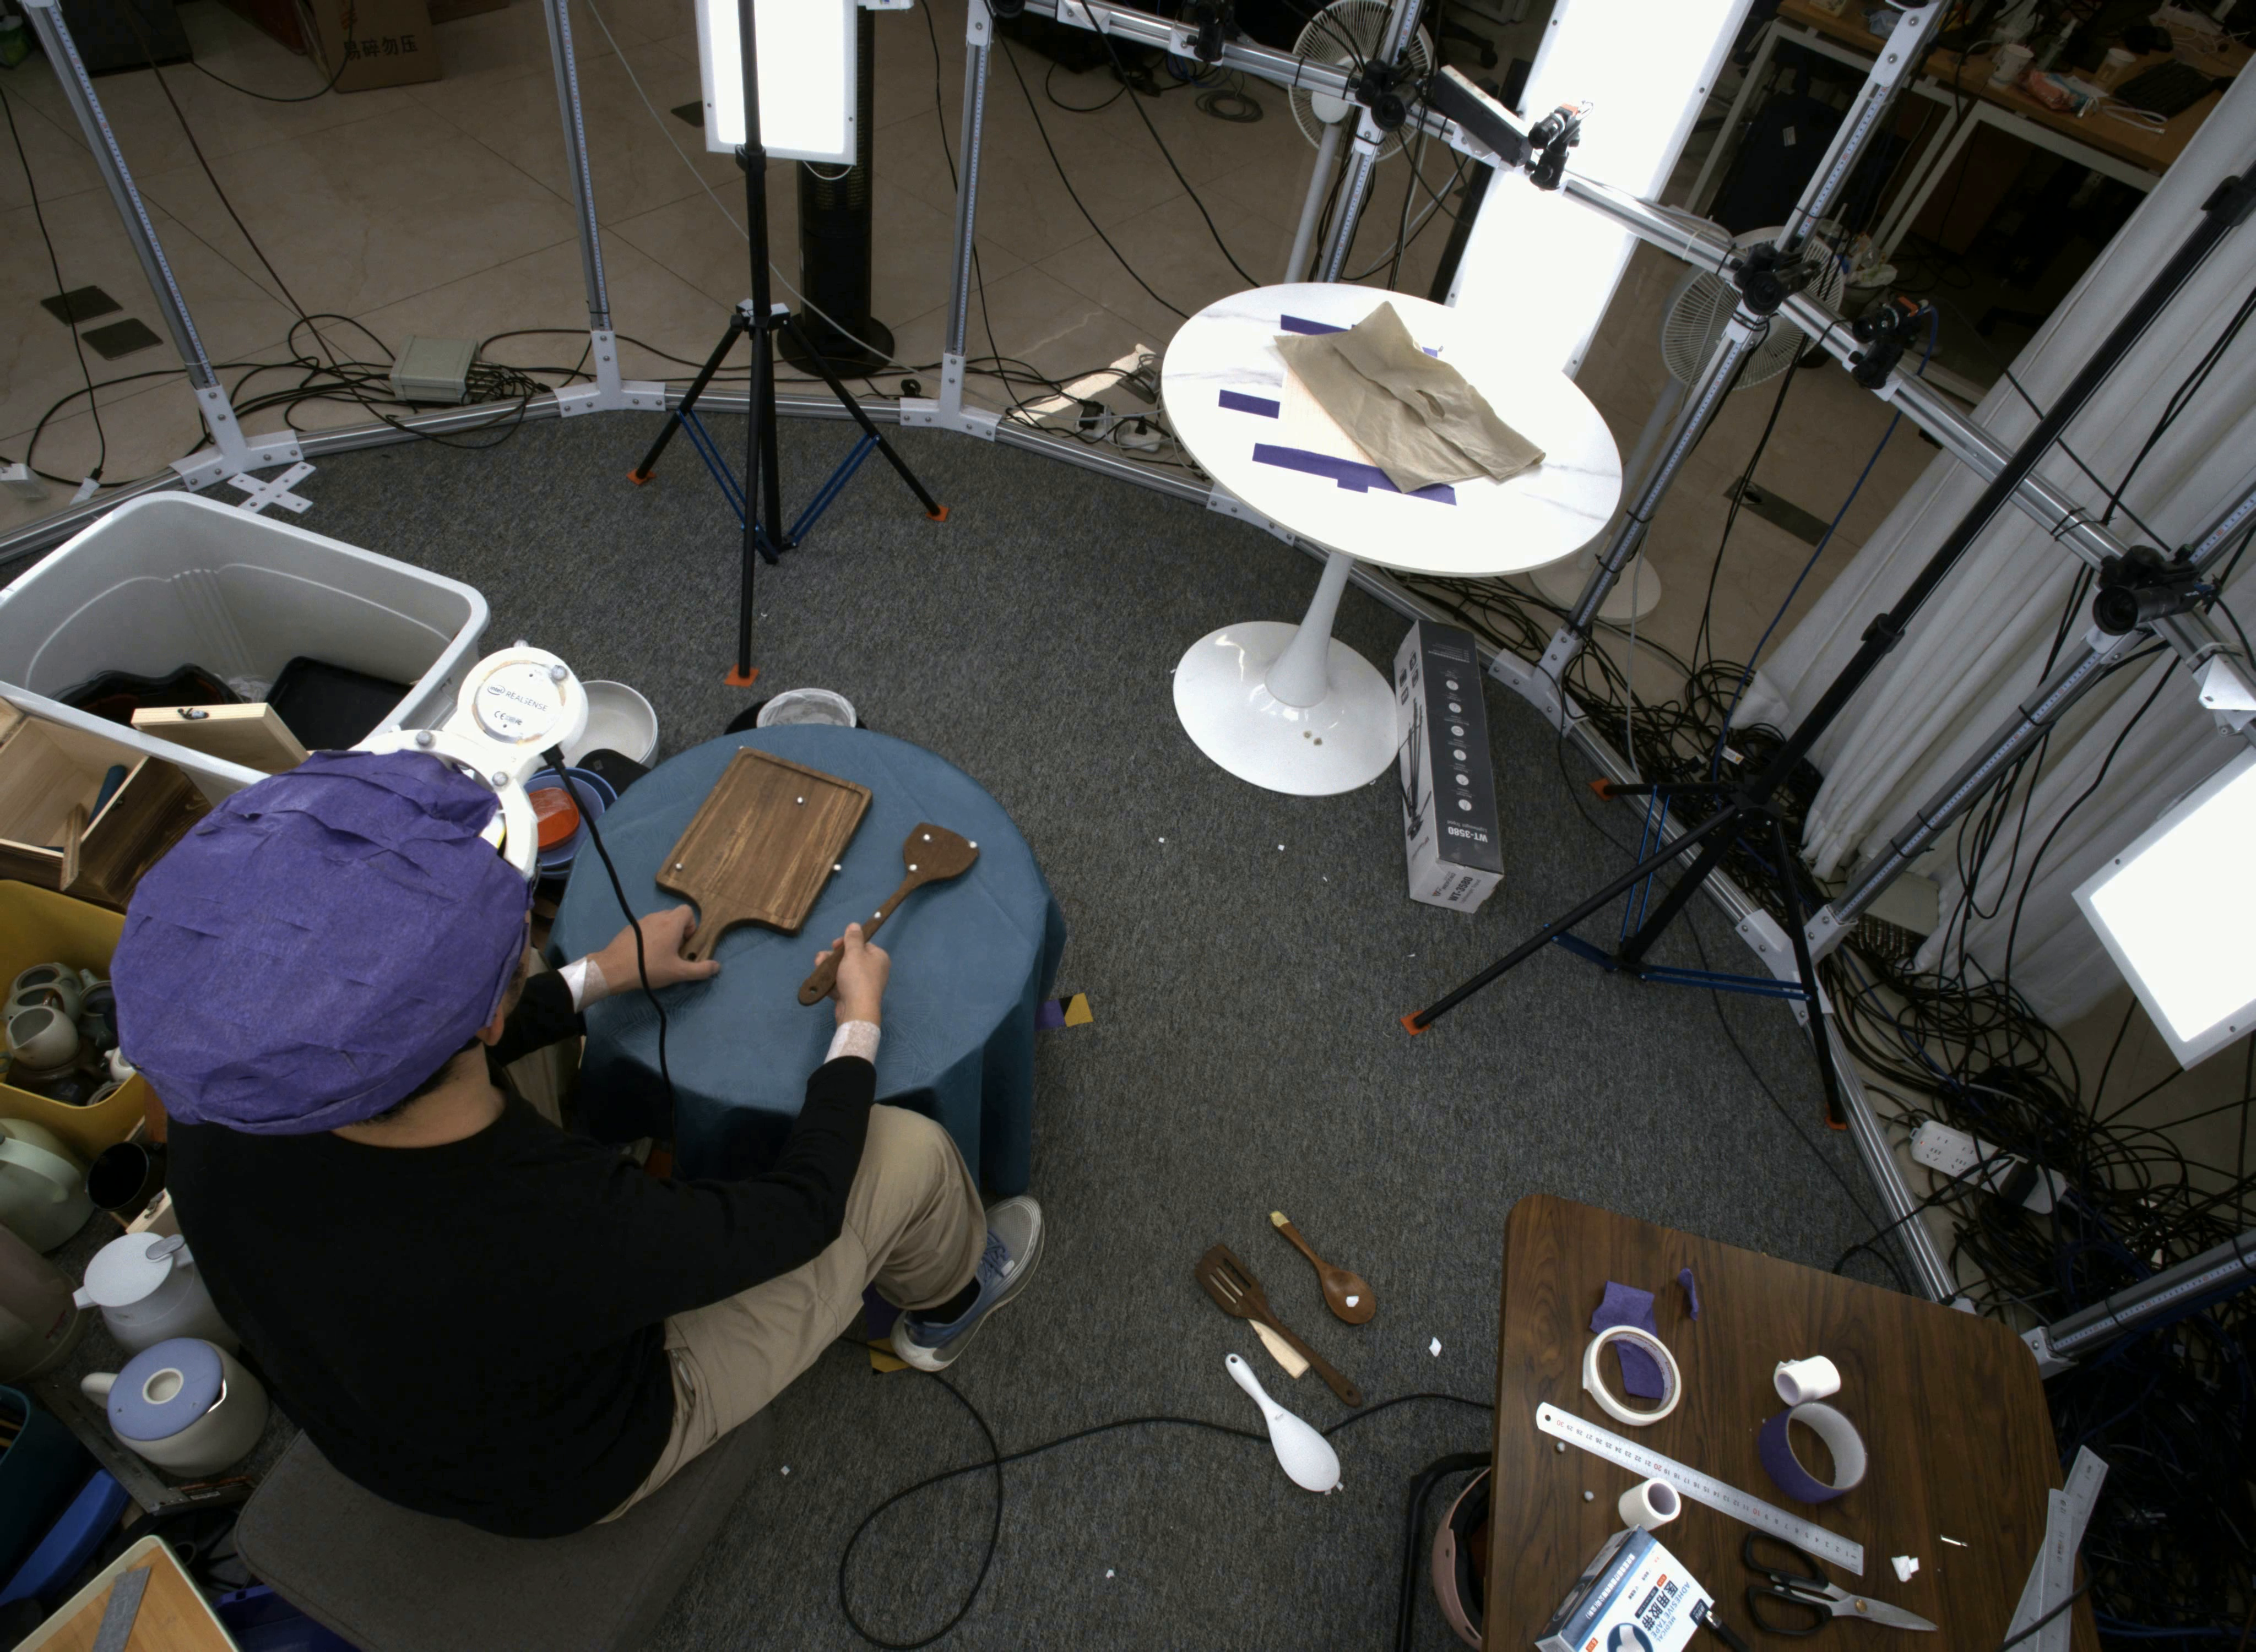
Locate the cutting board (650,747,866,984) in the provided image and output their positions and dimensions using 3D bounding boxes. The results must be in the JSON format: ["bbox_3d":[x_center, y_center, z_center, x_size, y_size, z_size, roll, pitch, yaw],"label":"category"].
[{"bbox_3d":[-0.489,0.050,1.650,0.199,0.023,0.348,19,51,0],"label":"cutting board"}]

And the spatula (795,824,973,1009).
[{"bbox_3d":[-0.305,0.104,1.604,0.095,0.016,0.383,26,35,5],"label":"spatula"}]
